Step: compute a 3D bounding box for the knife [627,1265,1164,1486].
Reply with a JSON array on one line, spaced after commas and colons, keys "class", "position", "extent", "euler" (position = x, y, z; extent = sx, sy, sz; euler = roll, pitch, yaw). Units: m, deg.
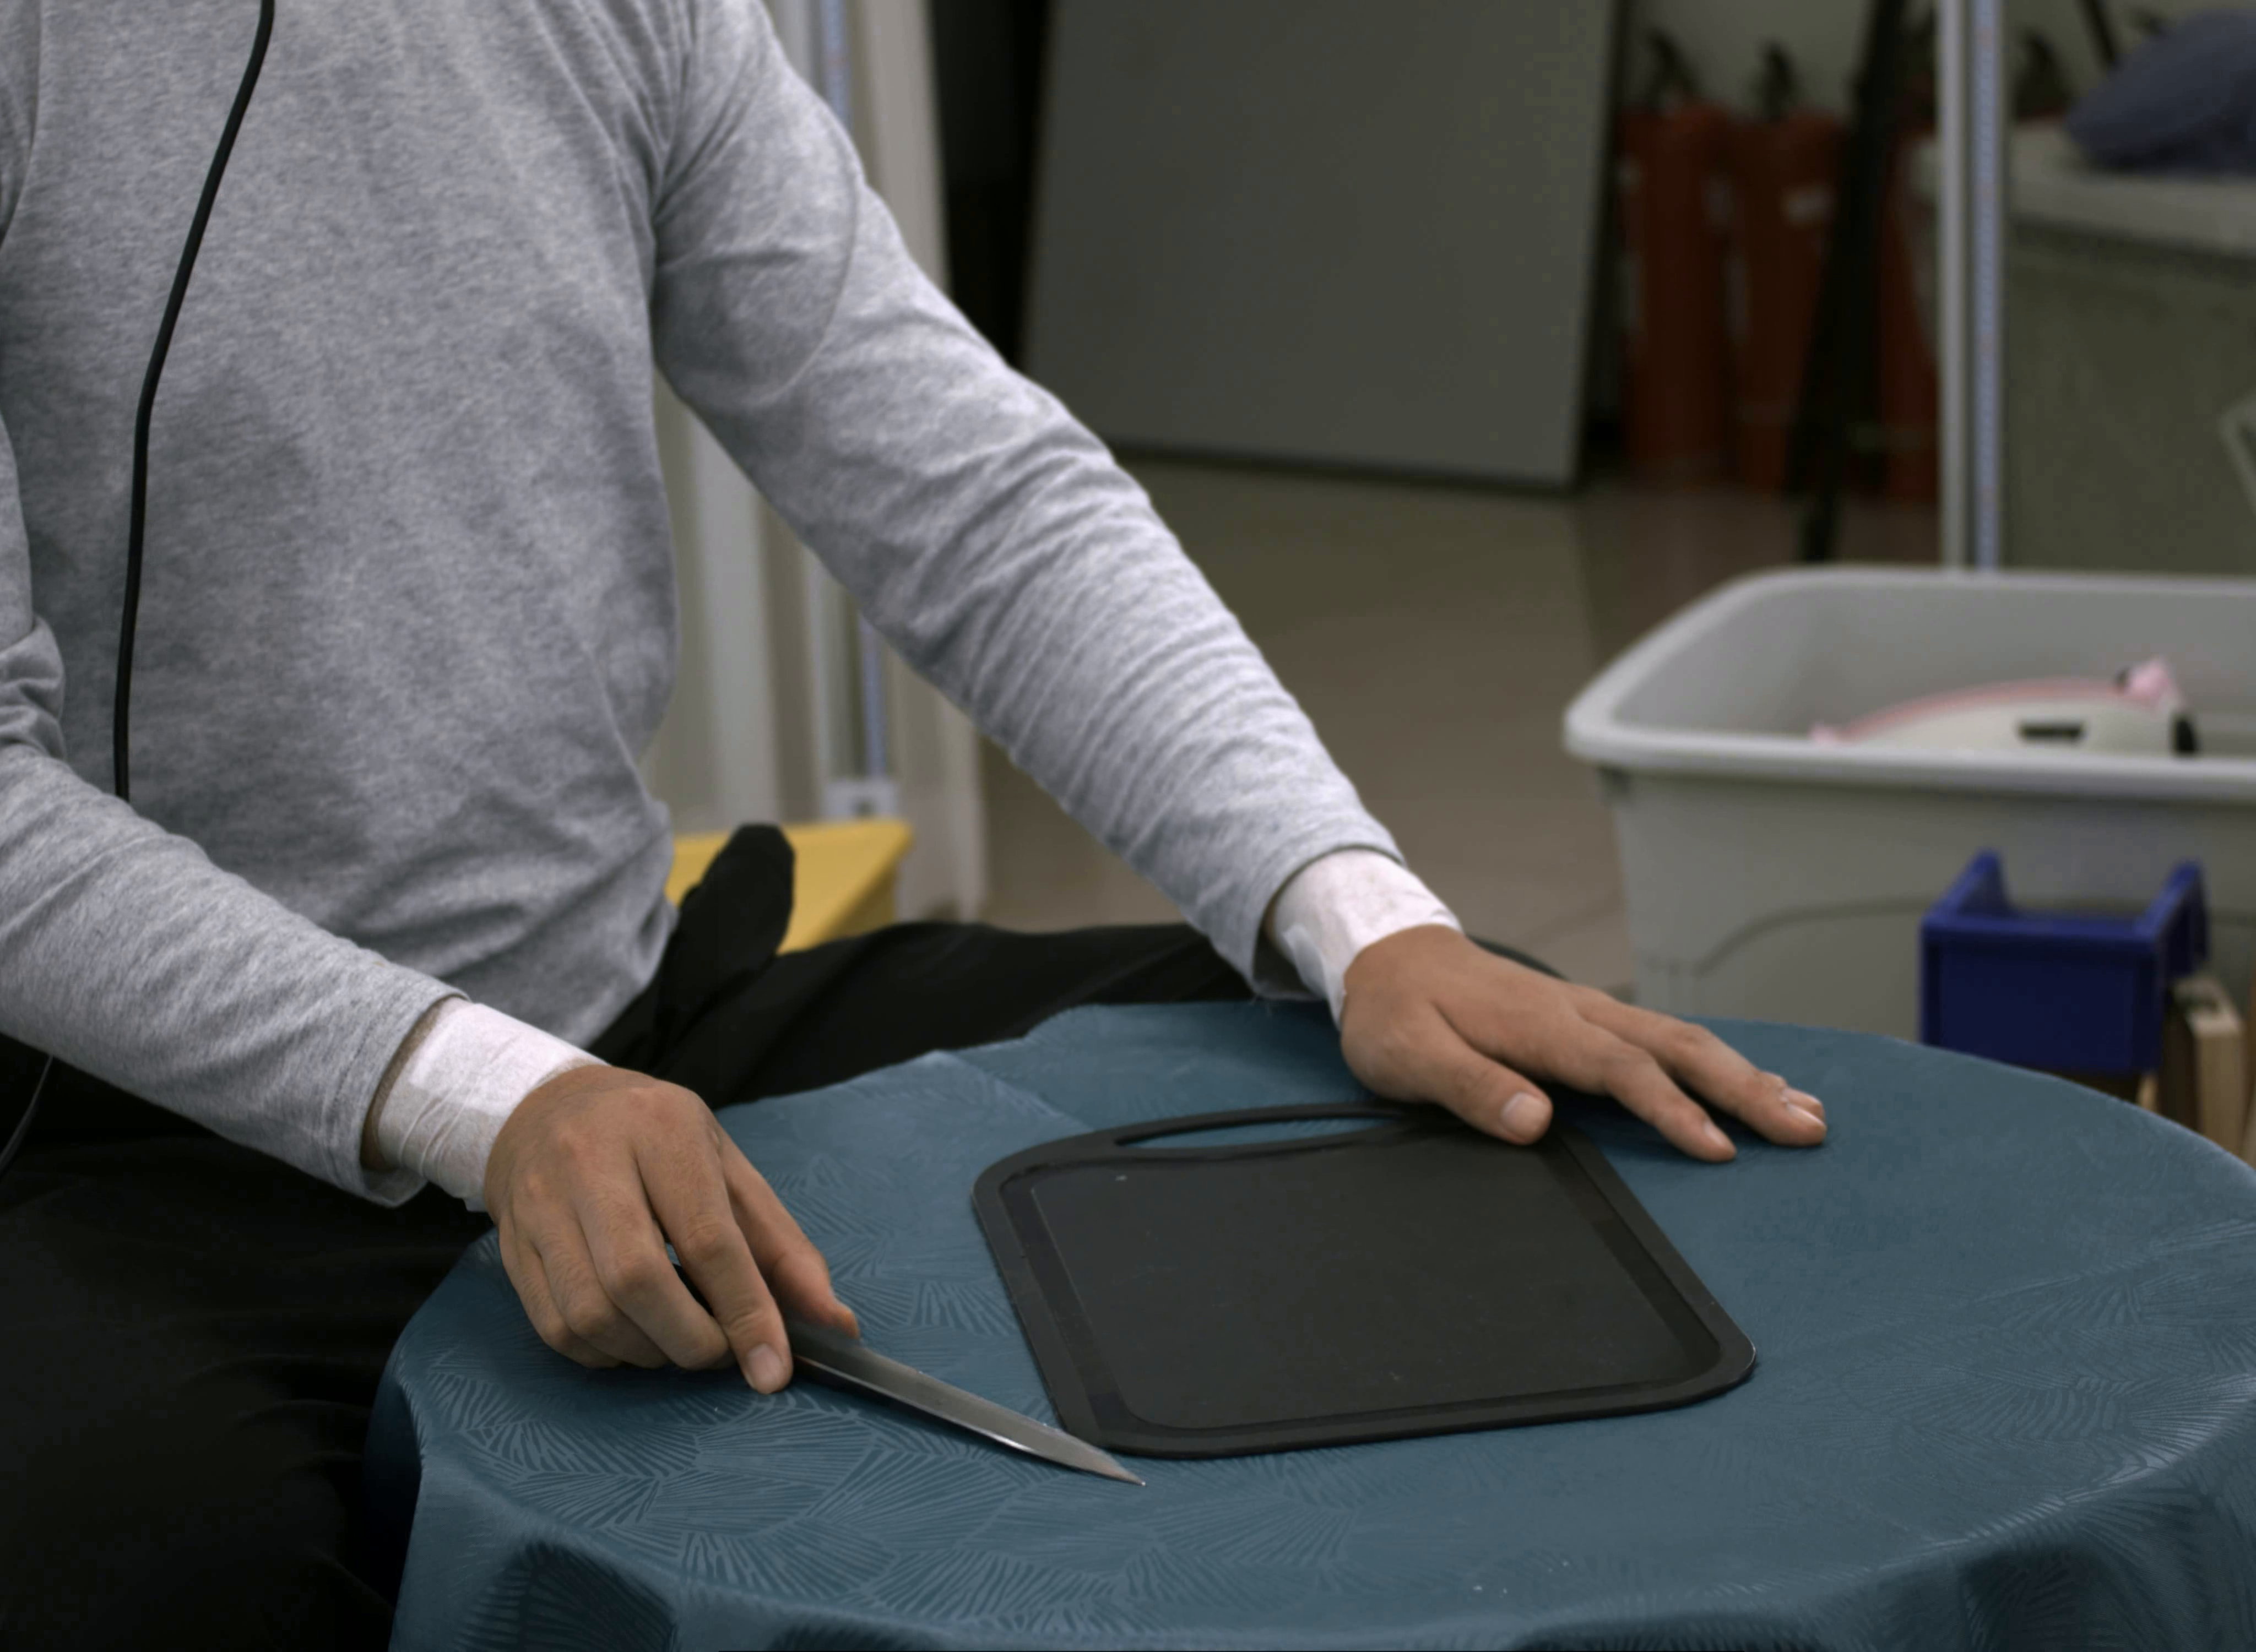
[{"class": "knife", "position": [-0.073, 0.164, 1.597], "extent": [0.024, 0.016, 0.240], "euler": [-9, 16, -42]}]

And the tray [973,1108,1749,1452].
[{"class": "tray", "position": [0.064, 0.135, 1.688], "extent": [0.208, 0.010, 0.327], "euler": [-6, 13, -6]}]
